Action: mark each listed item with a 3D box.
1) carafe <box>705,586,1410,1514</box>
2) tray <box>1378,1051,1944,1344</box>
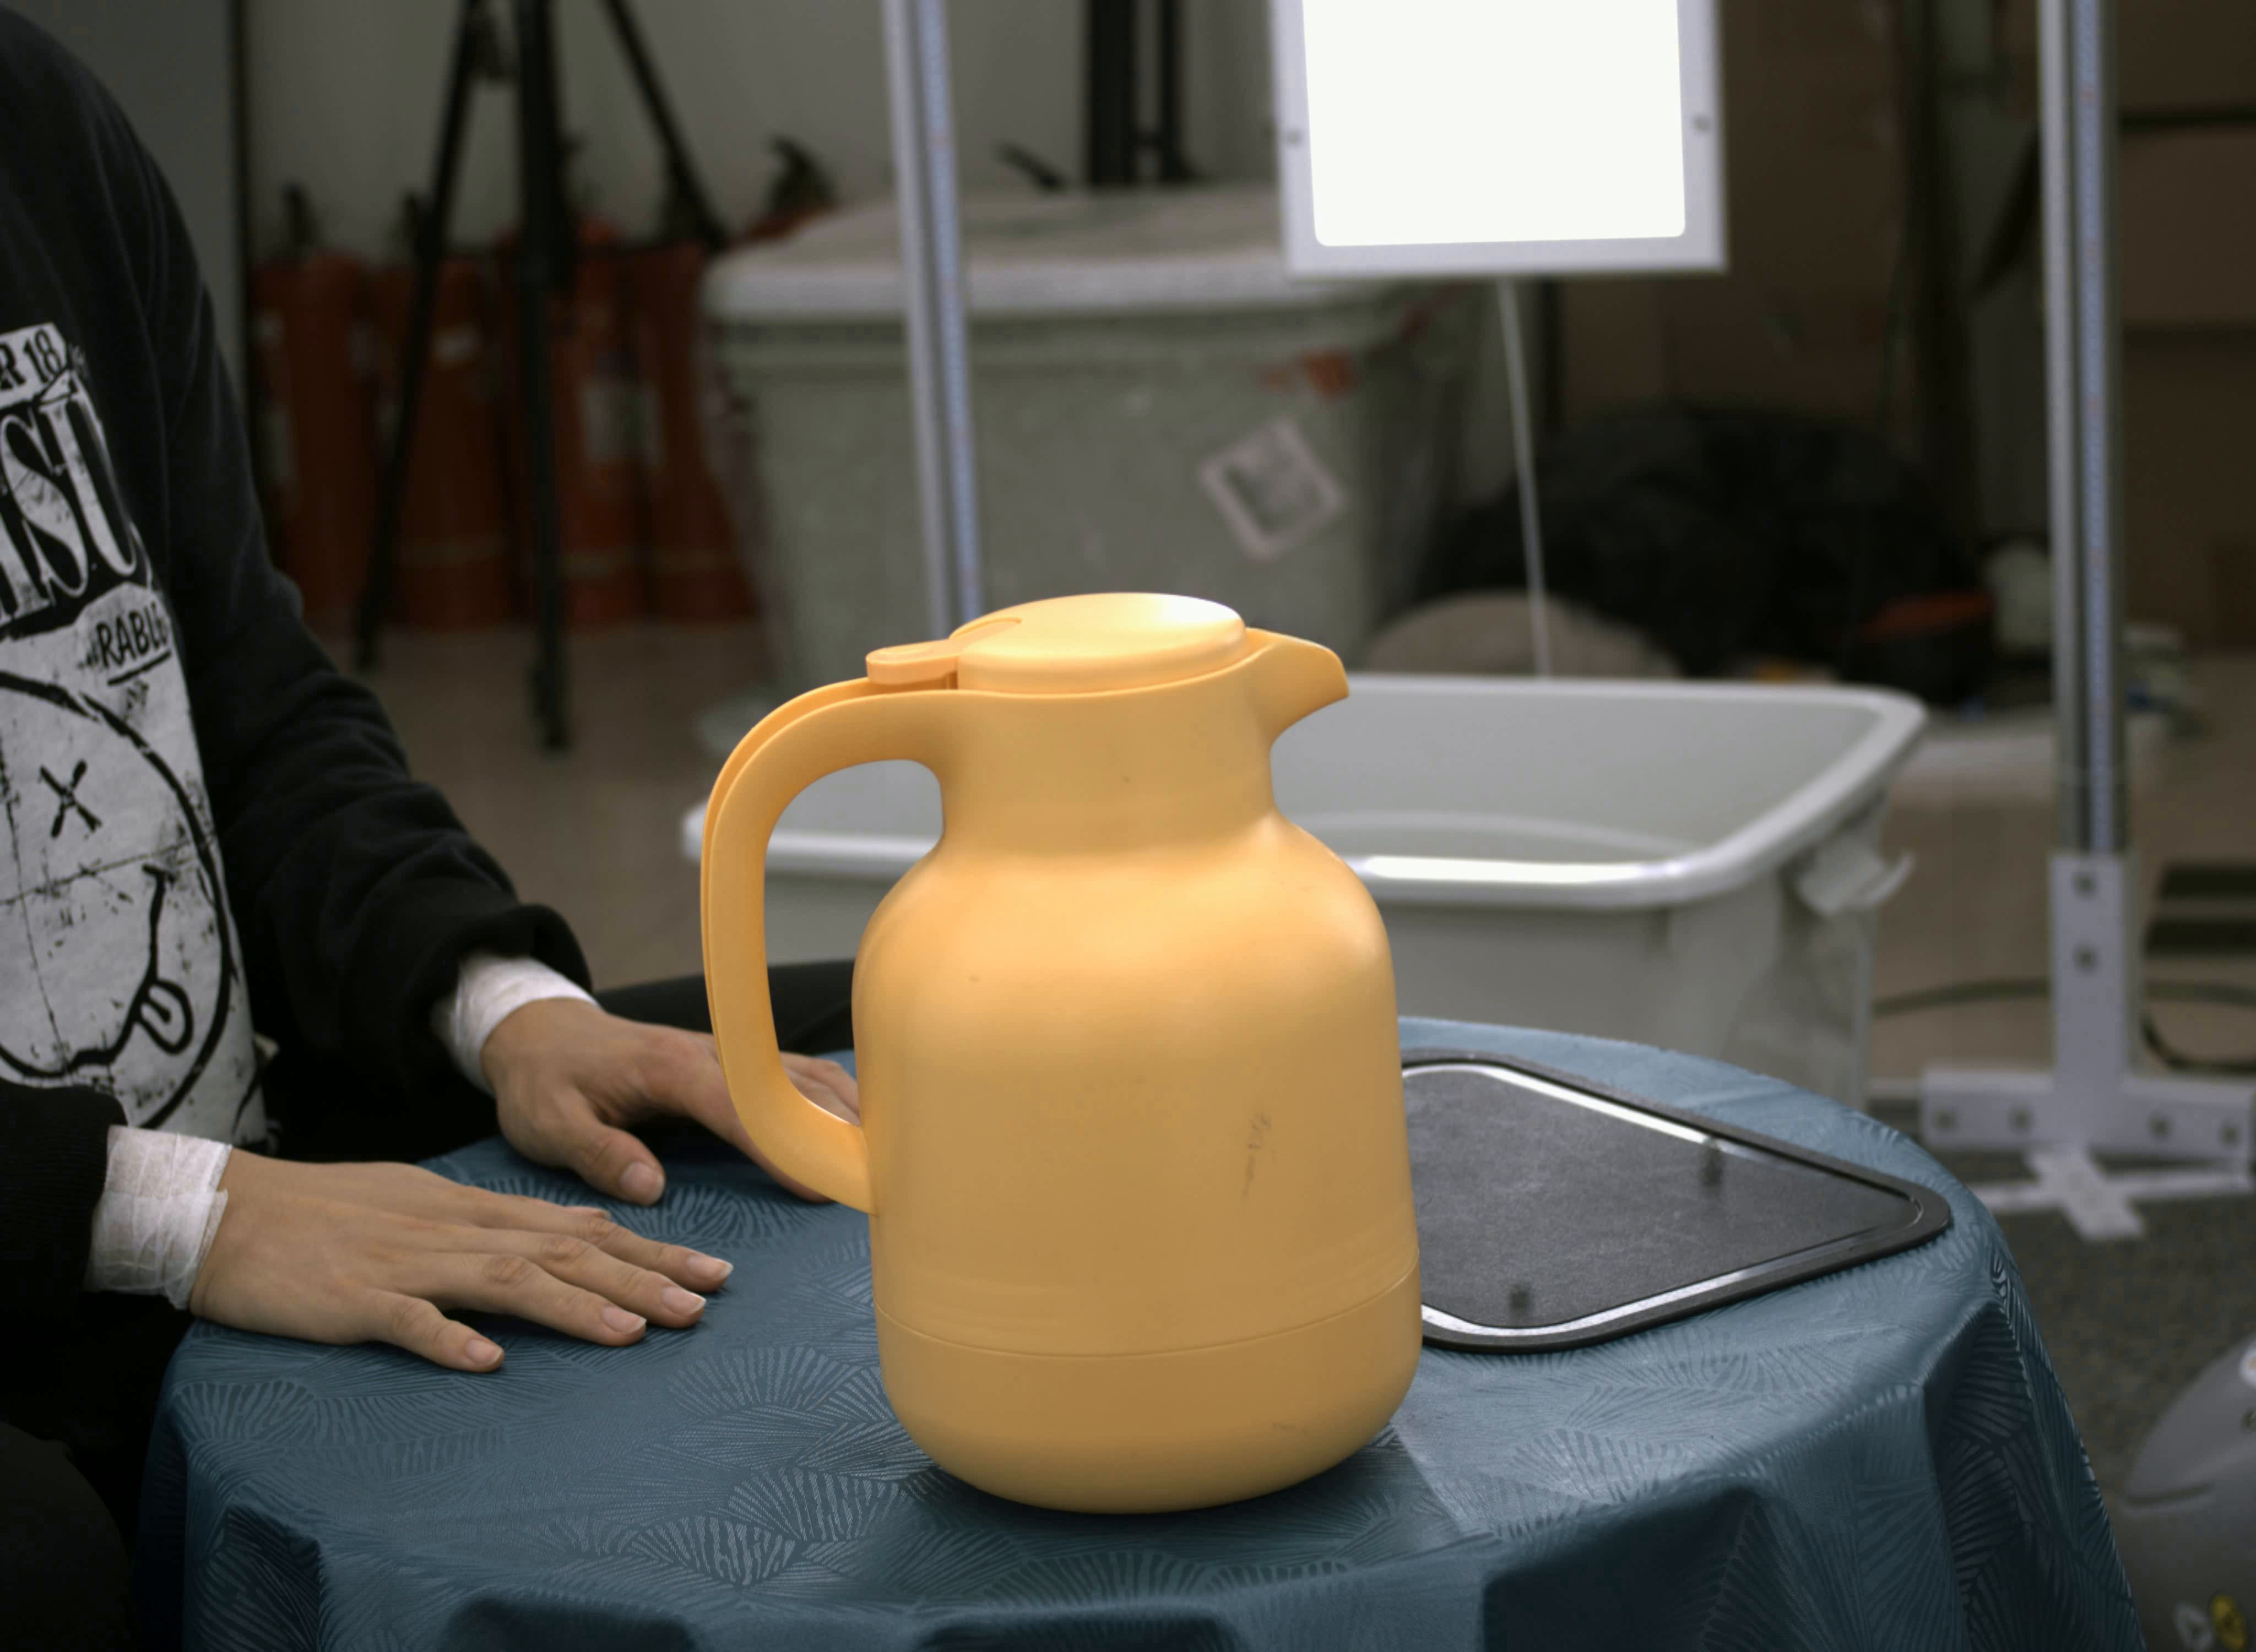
[{"bbox_3d":[-0.021,0.063,1.617,0.201,0.261,0.164,-4,12,-5],"label":"carafe"},{"bbox_3d":[0.111,0.120,1.871,0.206,0.010,0.331,-13,16,-30],"label":"tray"}]
